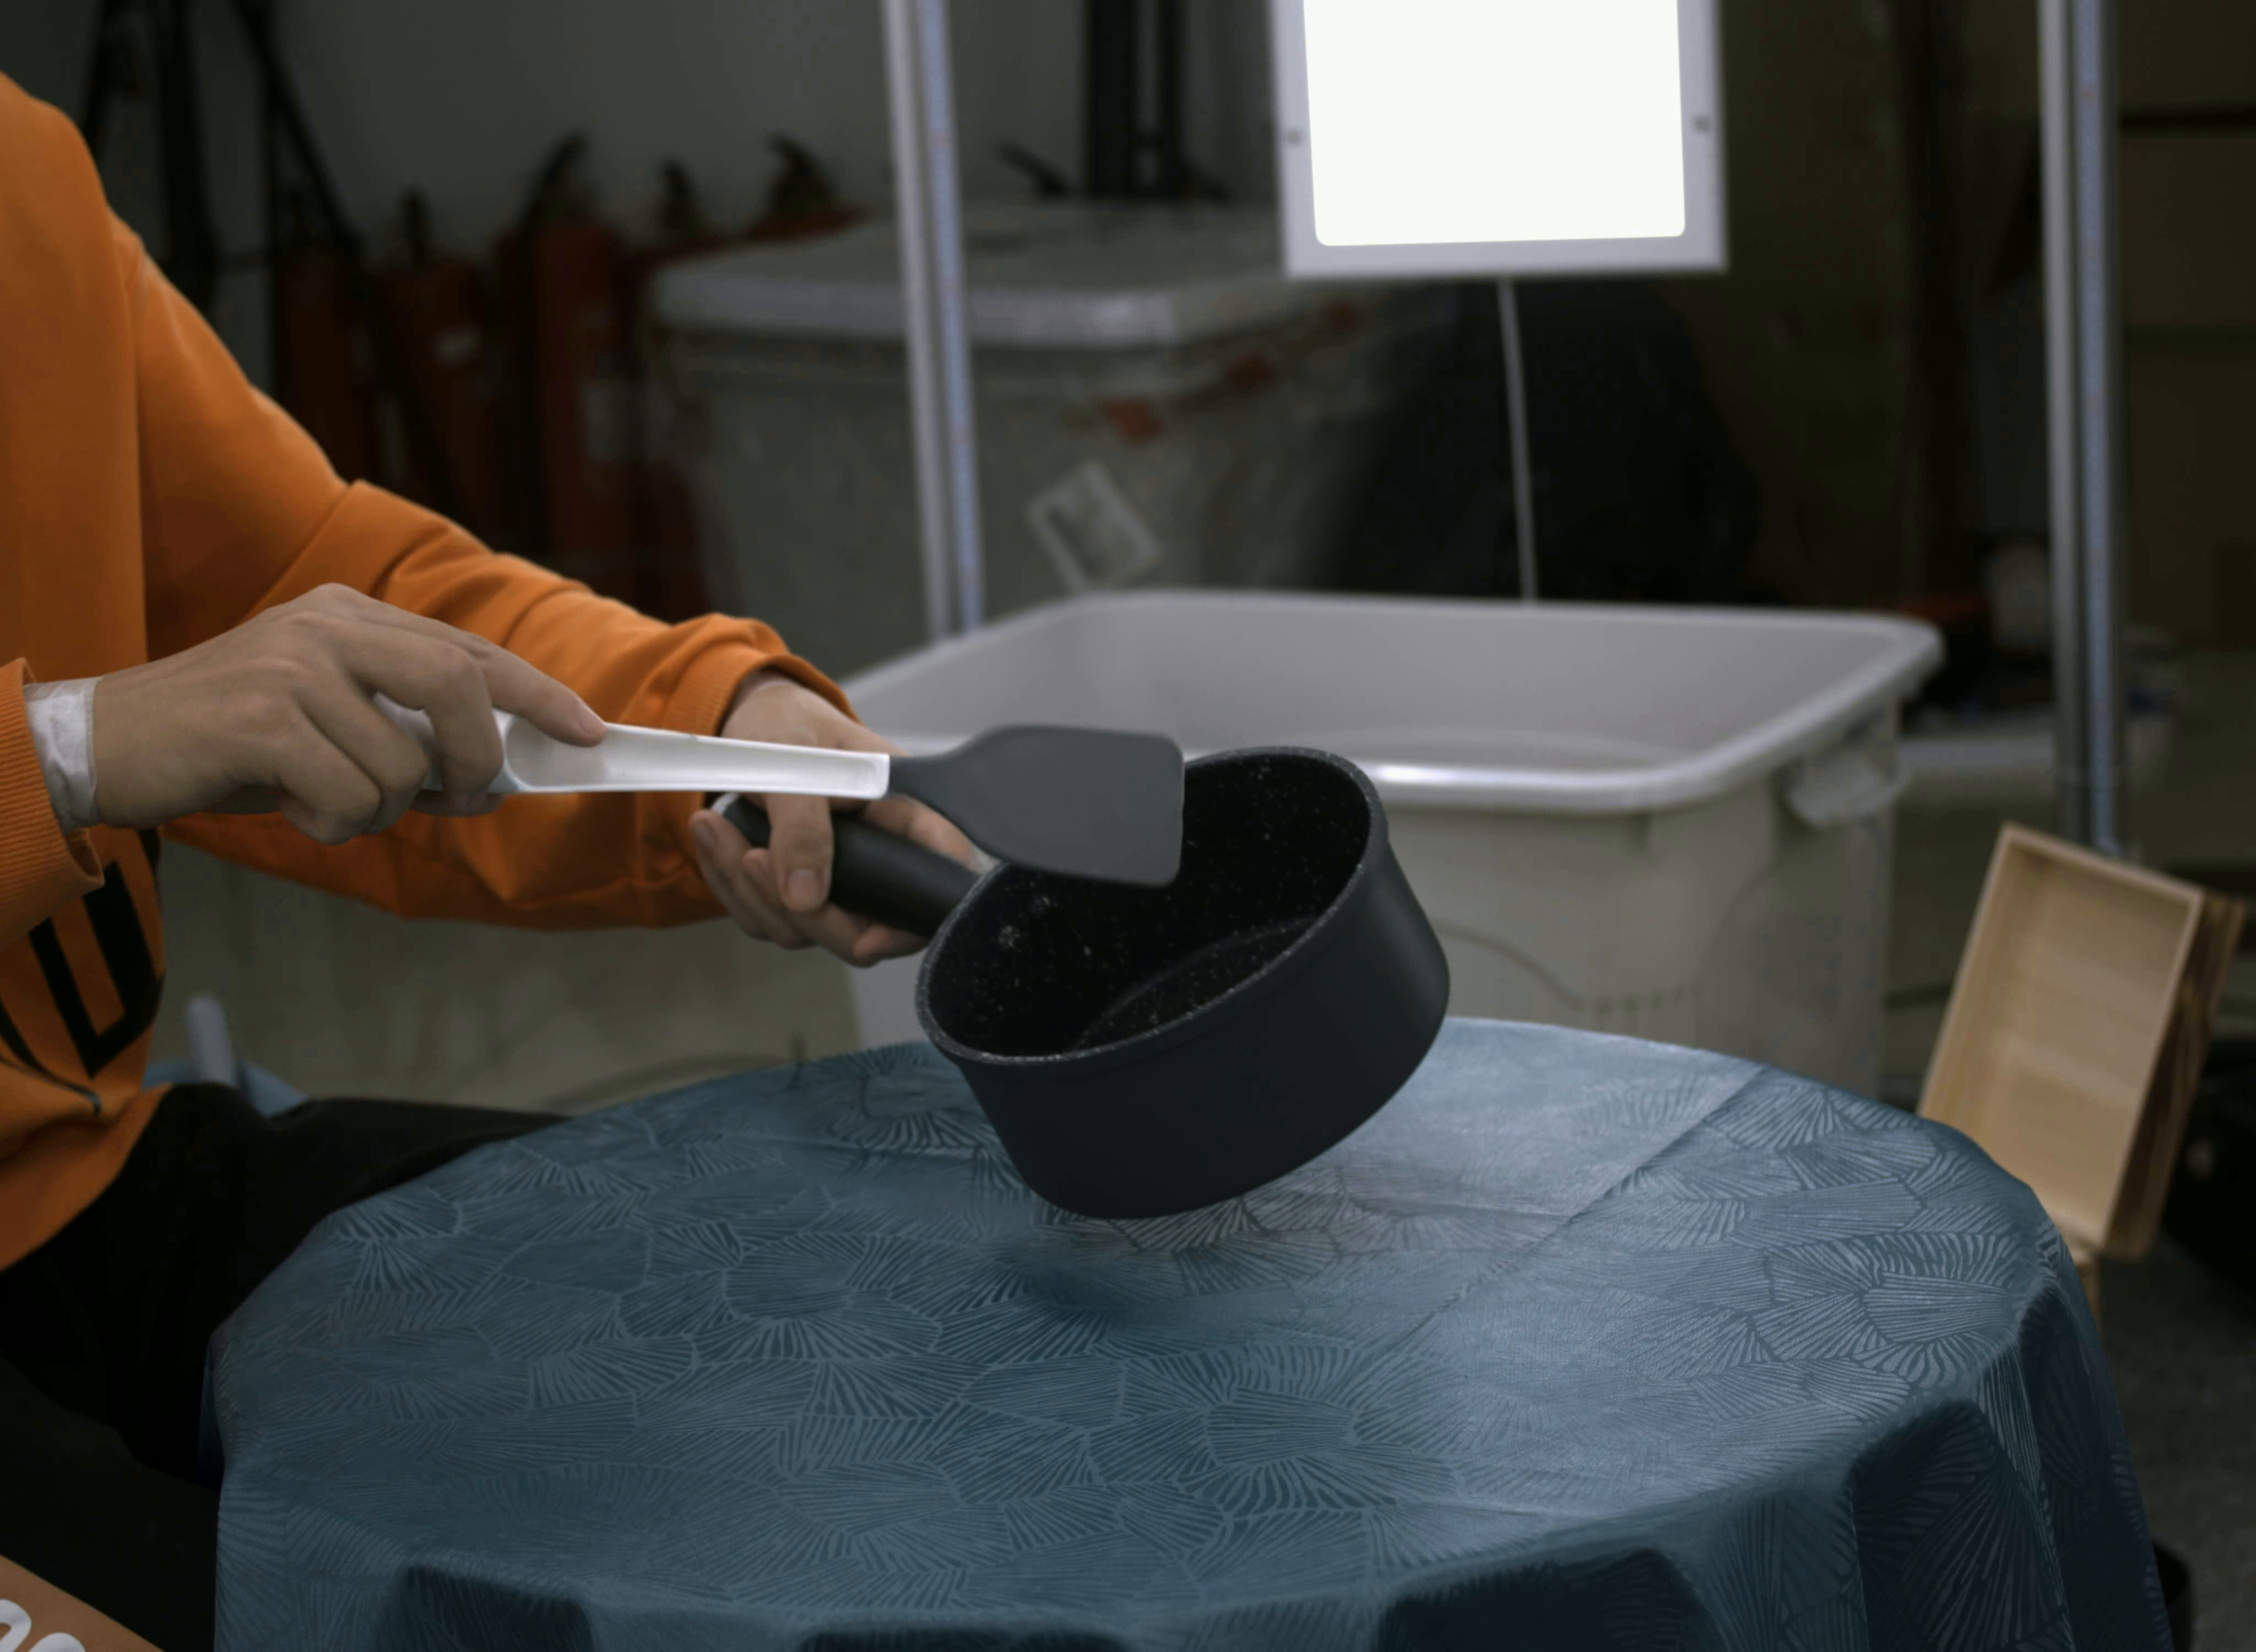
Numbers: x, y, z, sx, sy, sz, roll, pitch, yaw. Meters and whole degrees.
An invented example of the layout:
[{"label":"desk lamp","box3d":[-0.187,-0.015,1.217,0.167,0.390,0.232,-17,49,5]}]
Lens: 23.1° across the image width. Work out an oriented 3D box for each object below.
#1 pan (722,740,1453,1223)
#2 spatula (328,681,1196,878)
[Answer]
[{"label":"pan","box3d":[-0.027,0.041,1.912,0.169,0.086,0.335,-41,30,-24]},{"label":"spatula","box3d":[-0.115,-0.020,1.793,0.284,0.058,0.032,4,-16,-10]}]
